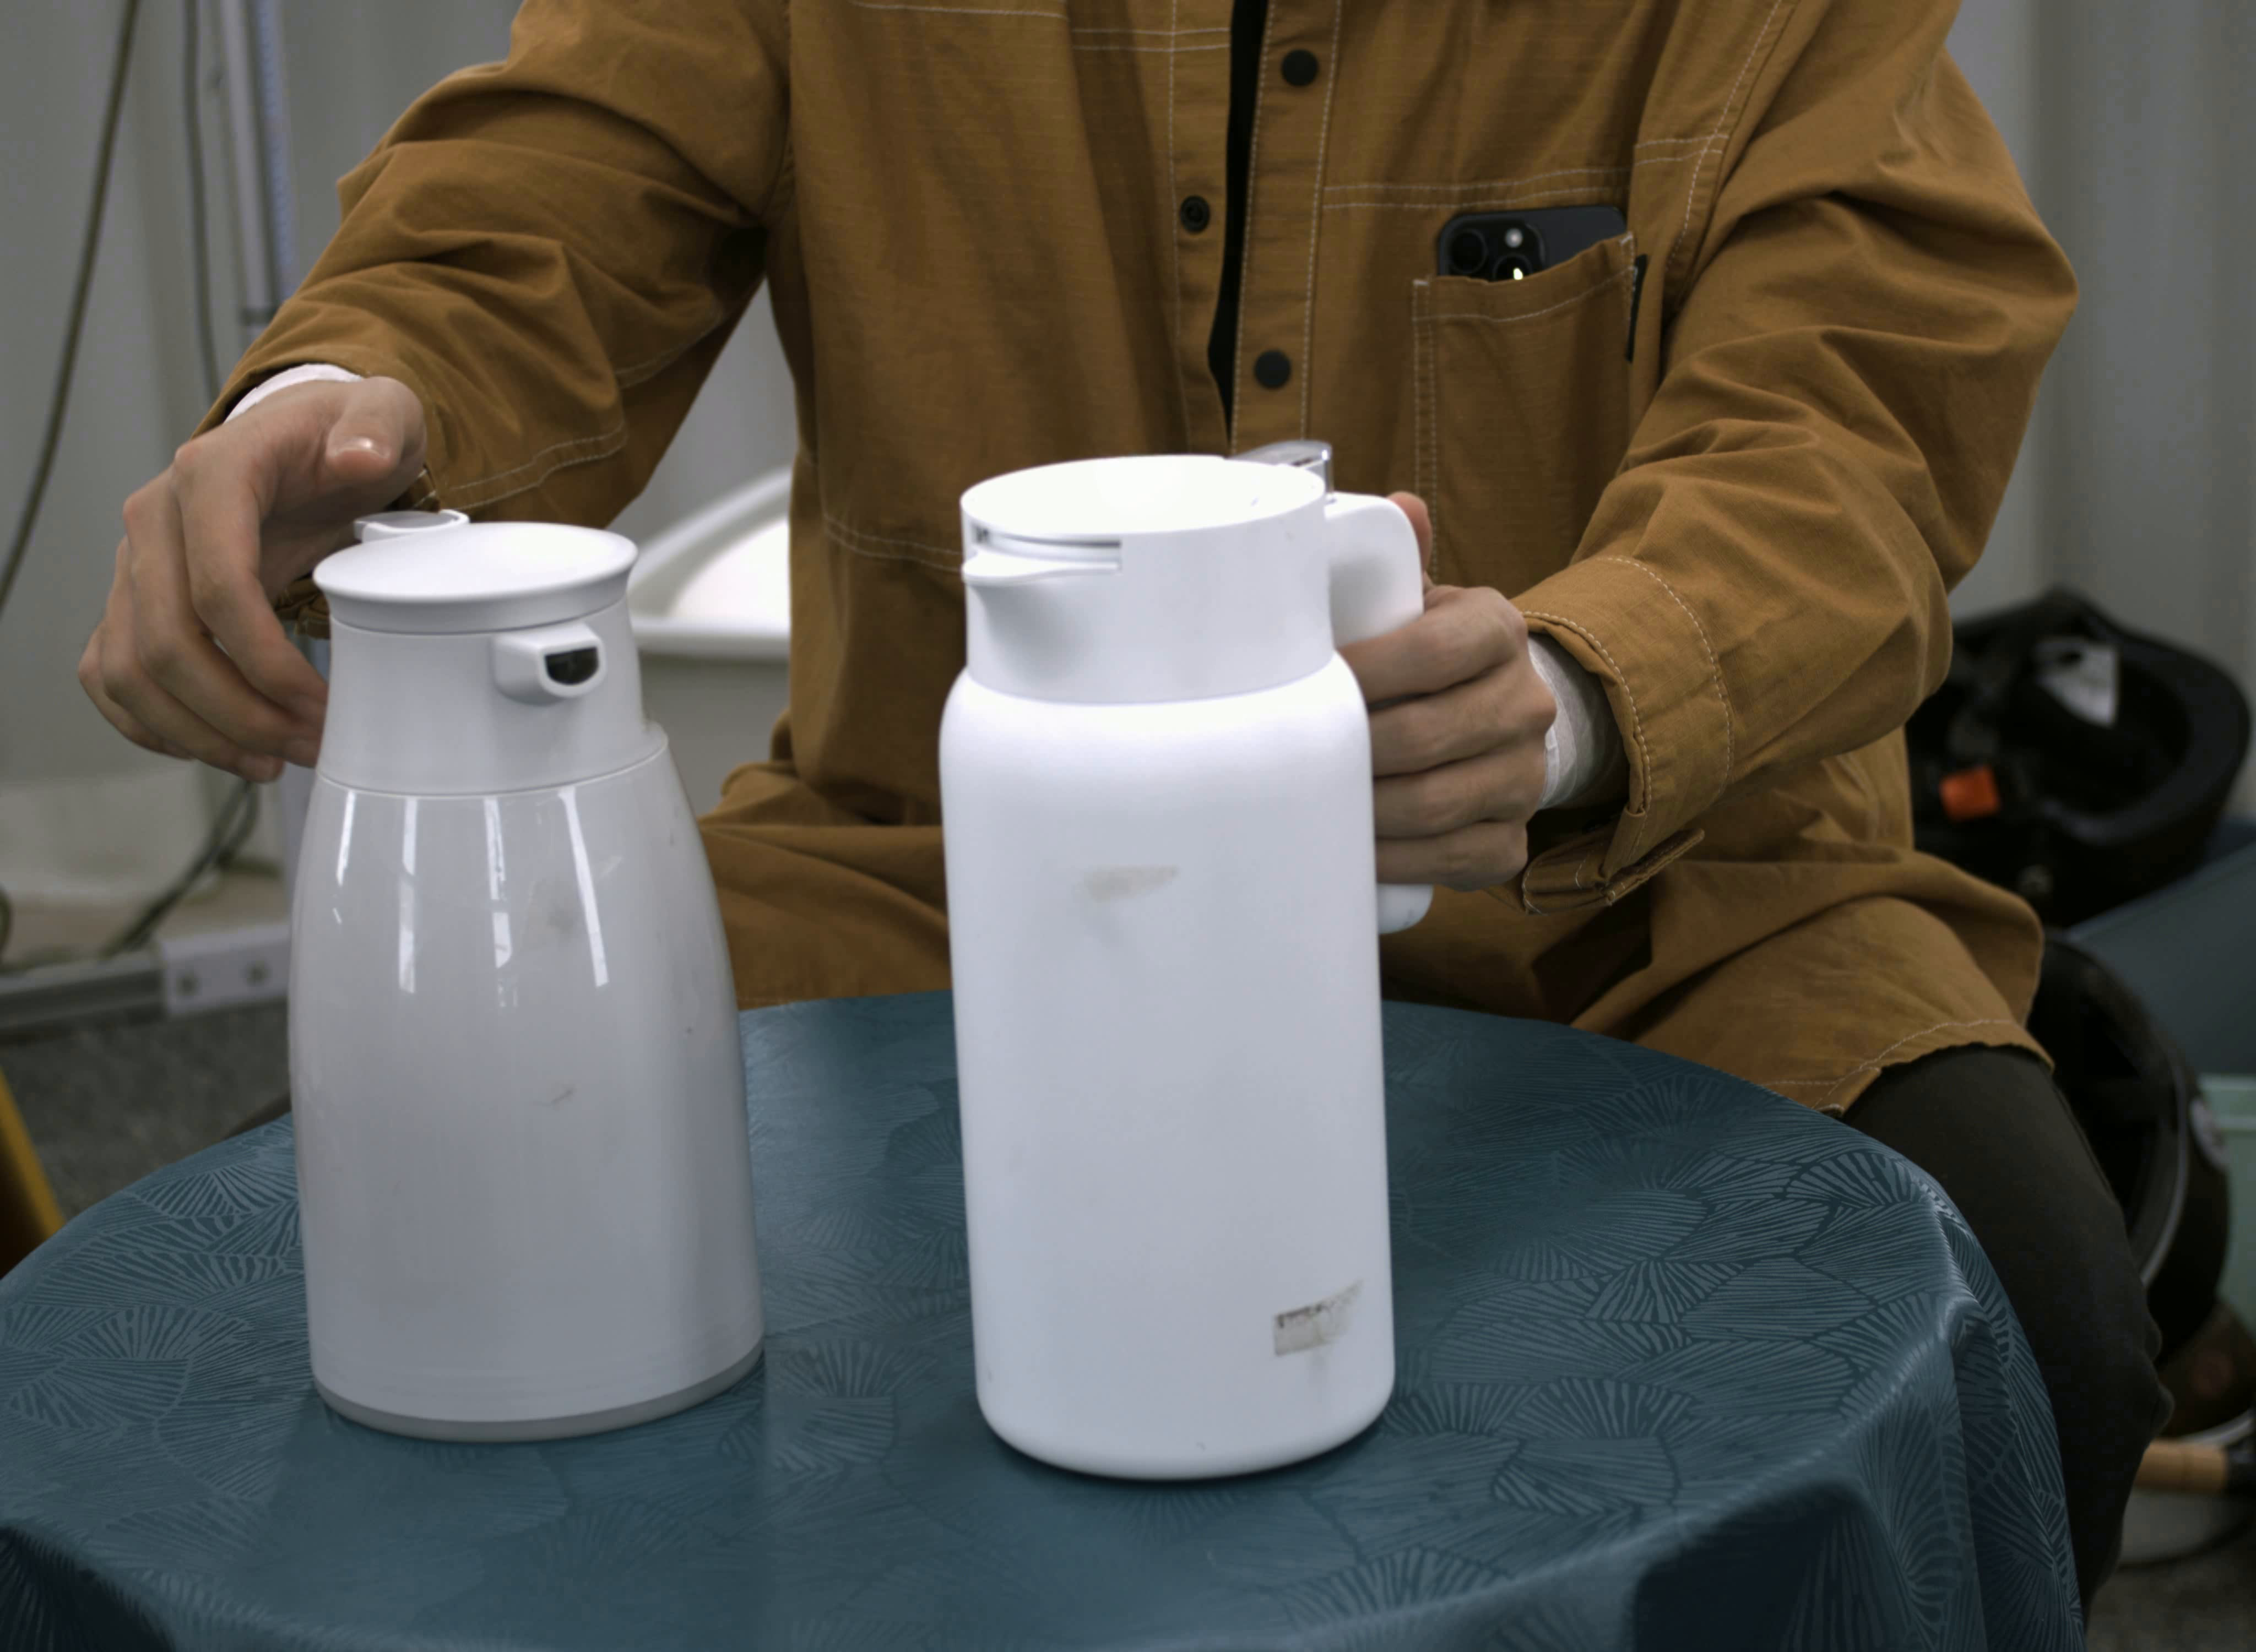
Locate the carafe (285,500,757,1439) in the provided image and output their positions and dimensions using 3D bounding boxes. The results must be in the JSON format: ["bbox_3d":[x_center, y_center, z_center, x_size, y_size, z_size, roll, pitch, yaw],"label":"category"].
[{"bbox_3d":[-0.188,0.033,1.579,0.132,0.248,0.169,-10,15,-30],"label":"carafe"}]

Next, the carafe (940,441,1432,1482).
[{"bbox_3d":[0.020,0.032,1.505,0.124,0.268,0.172,6,16,39],"label":"carafe"}]
